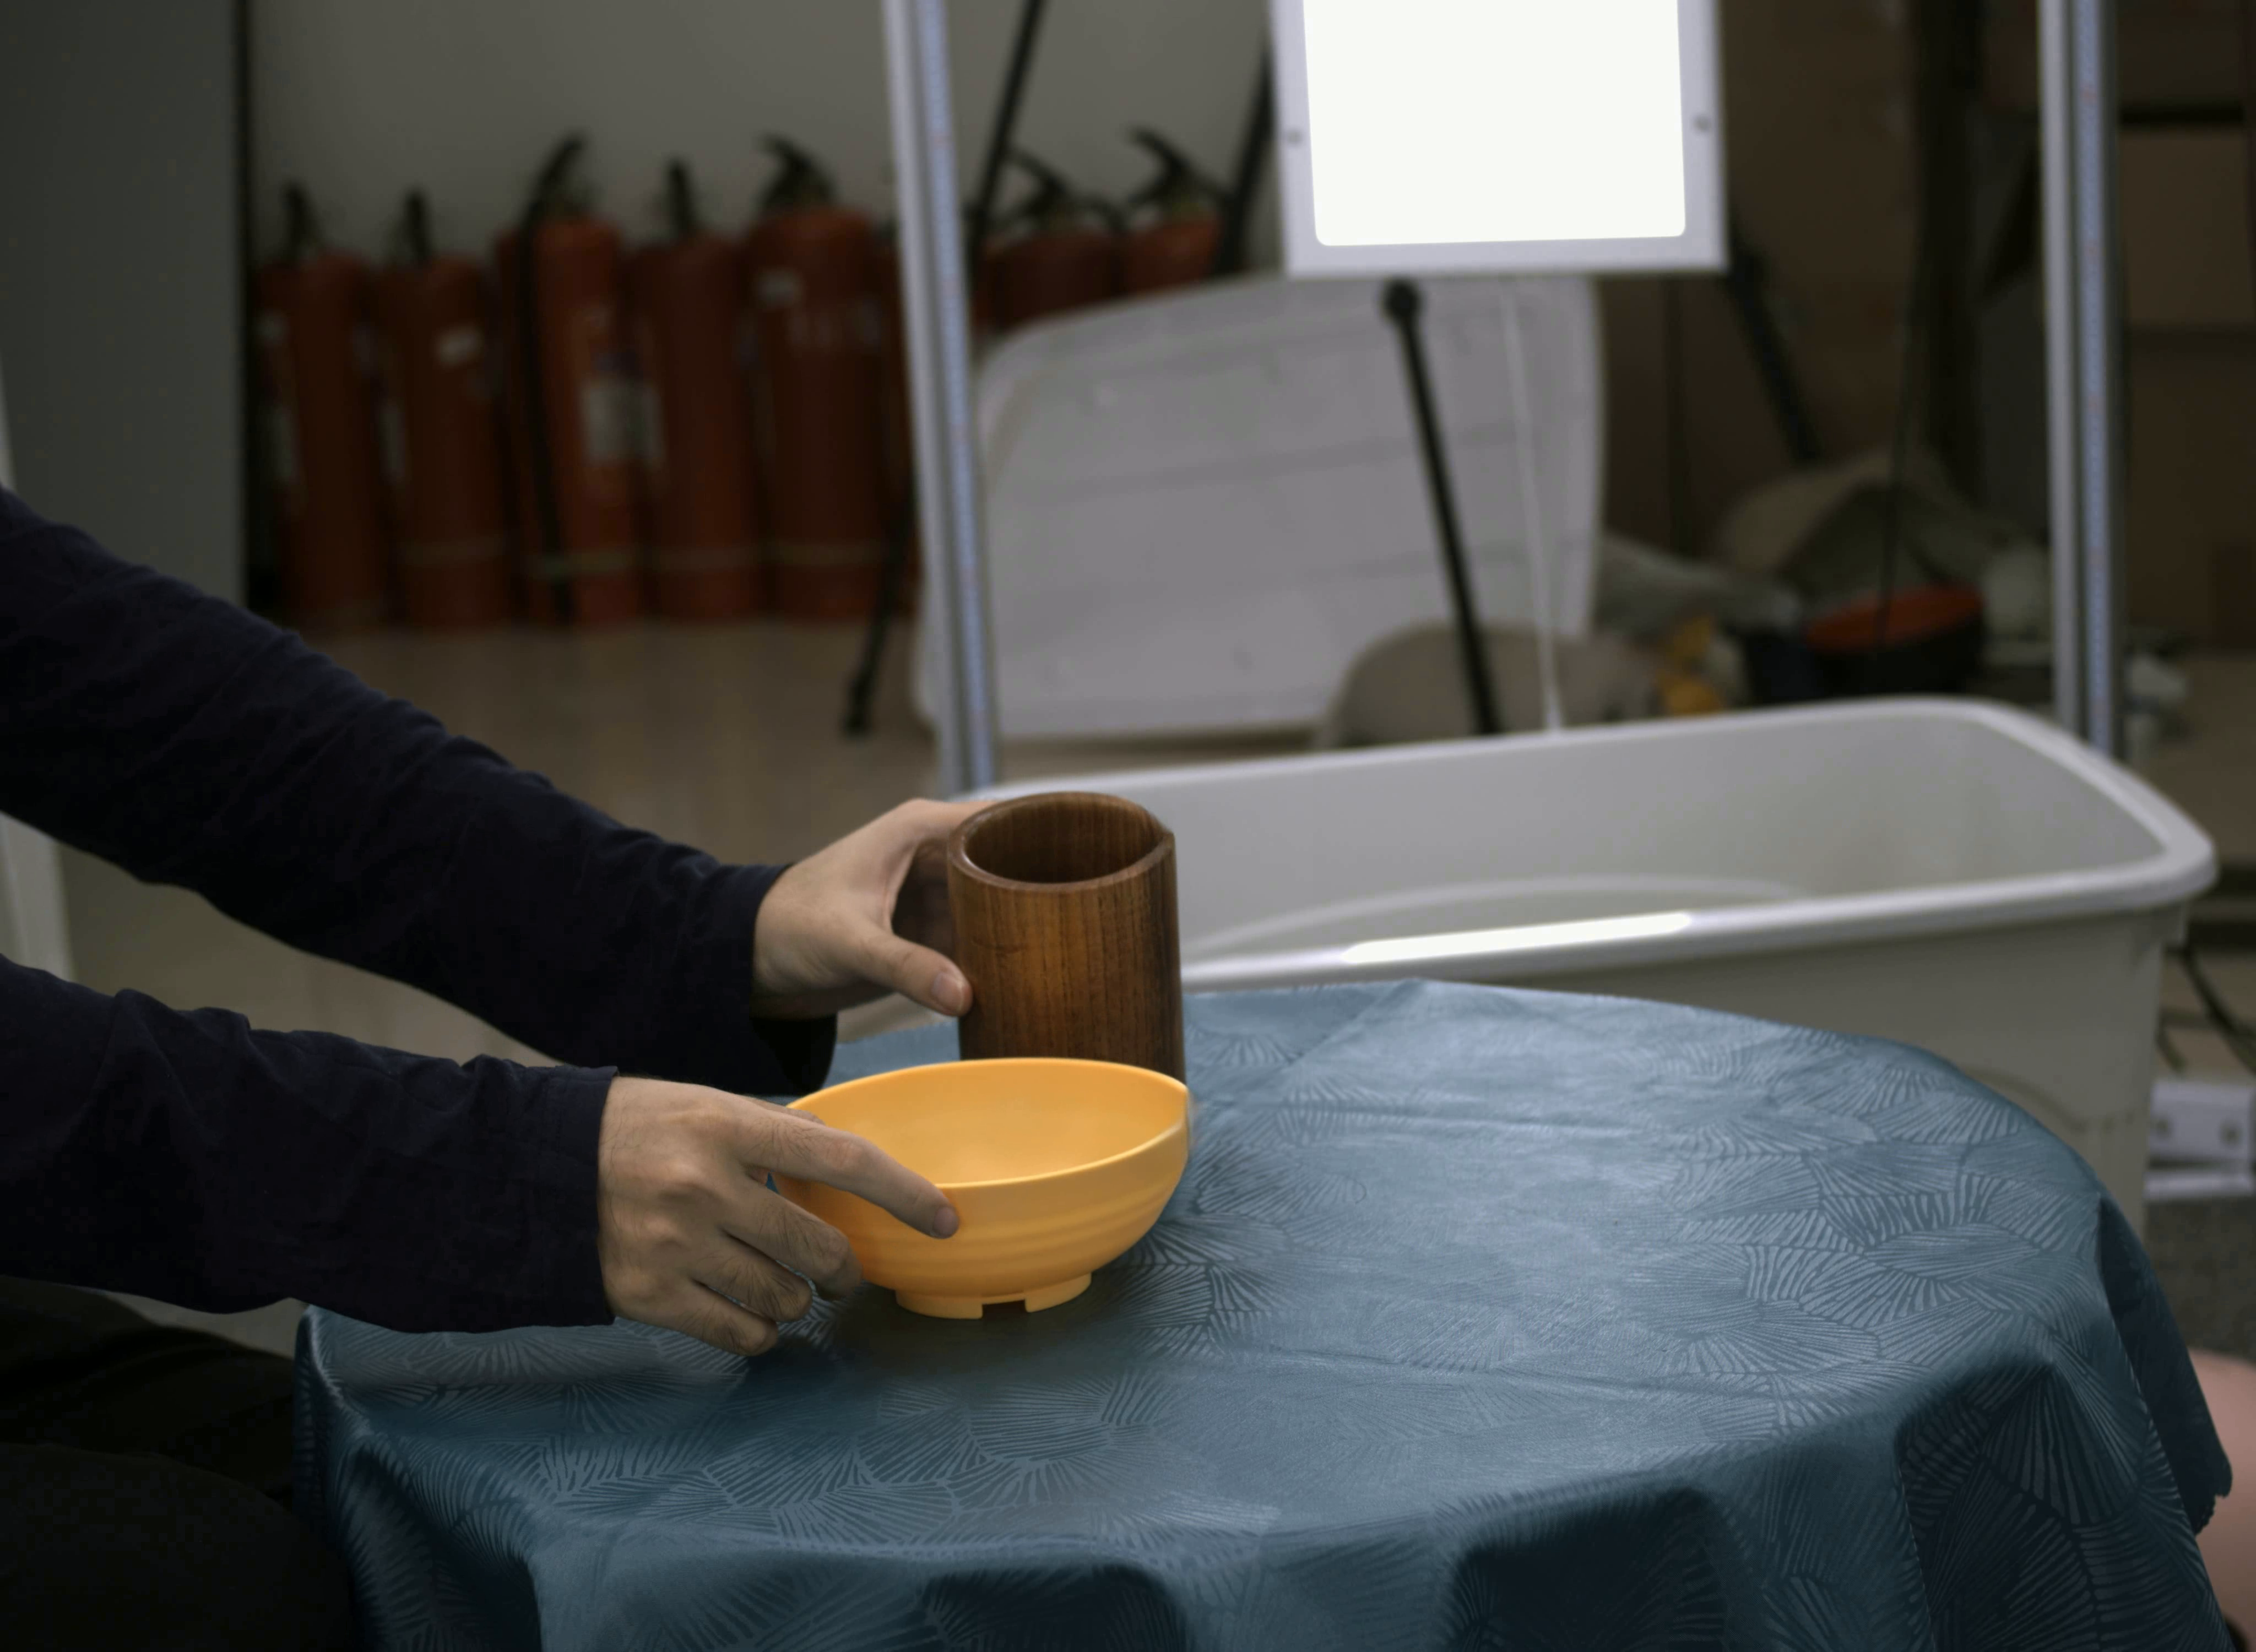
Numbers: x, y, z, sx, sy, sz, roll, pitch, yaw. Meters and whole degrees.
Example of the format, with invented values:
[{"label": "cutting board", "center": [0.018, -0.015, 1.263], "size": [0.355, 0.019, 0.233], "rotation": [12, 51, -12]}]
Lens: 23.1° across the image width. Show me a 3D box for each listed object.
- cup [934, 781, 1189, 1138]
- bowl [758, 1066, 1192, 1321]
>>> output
[{"label": "cup", "center": [-0.021, 0.054, 1.919], "size": [0.087, 0.119, 0.087], "rotation": [-4, 24, 0]}, {"label": "bowl", "center": [-0.047, 0.124, 1.804], "size": [0.145, 0.060, 0.145], "rotation": [-6, 12, 0]}]
